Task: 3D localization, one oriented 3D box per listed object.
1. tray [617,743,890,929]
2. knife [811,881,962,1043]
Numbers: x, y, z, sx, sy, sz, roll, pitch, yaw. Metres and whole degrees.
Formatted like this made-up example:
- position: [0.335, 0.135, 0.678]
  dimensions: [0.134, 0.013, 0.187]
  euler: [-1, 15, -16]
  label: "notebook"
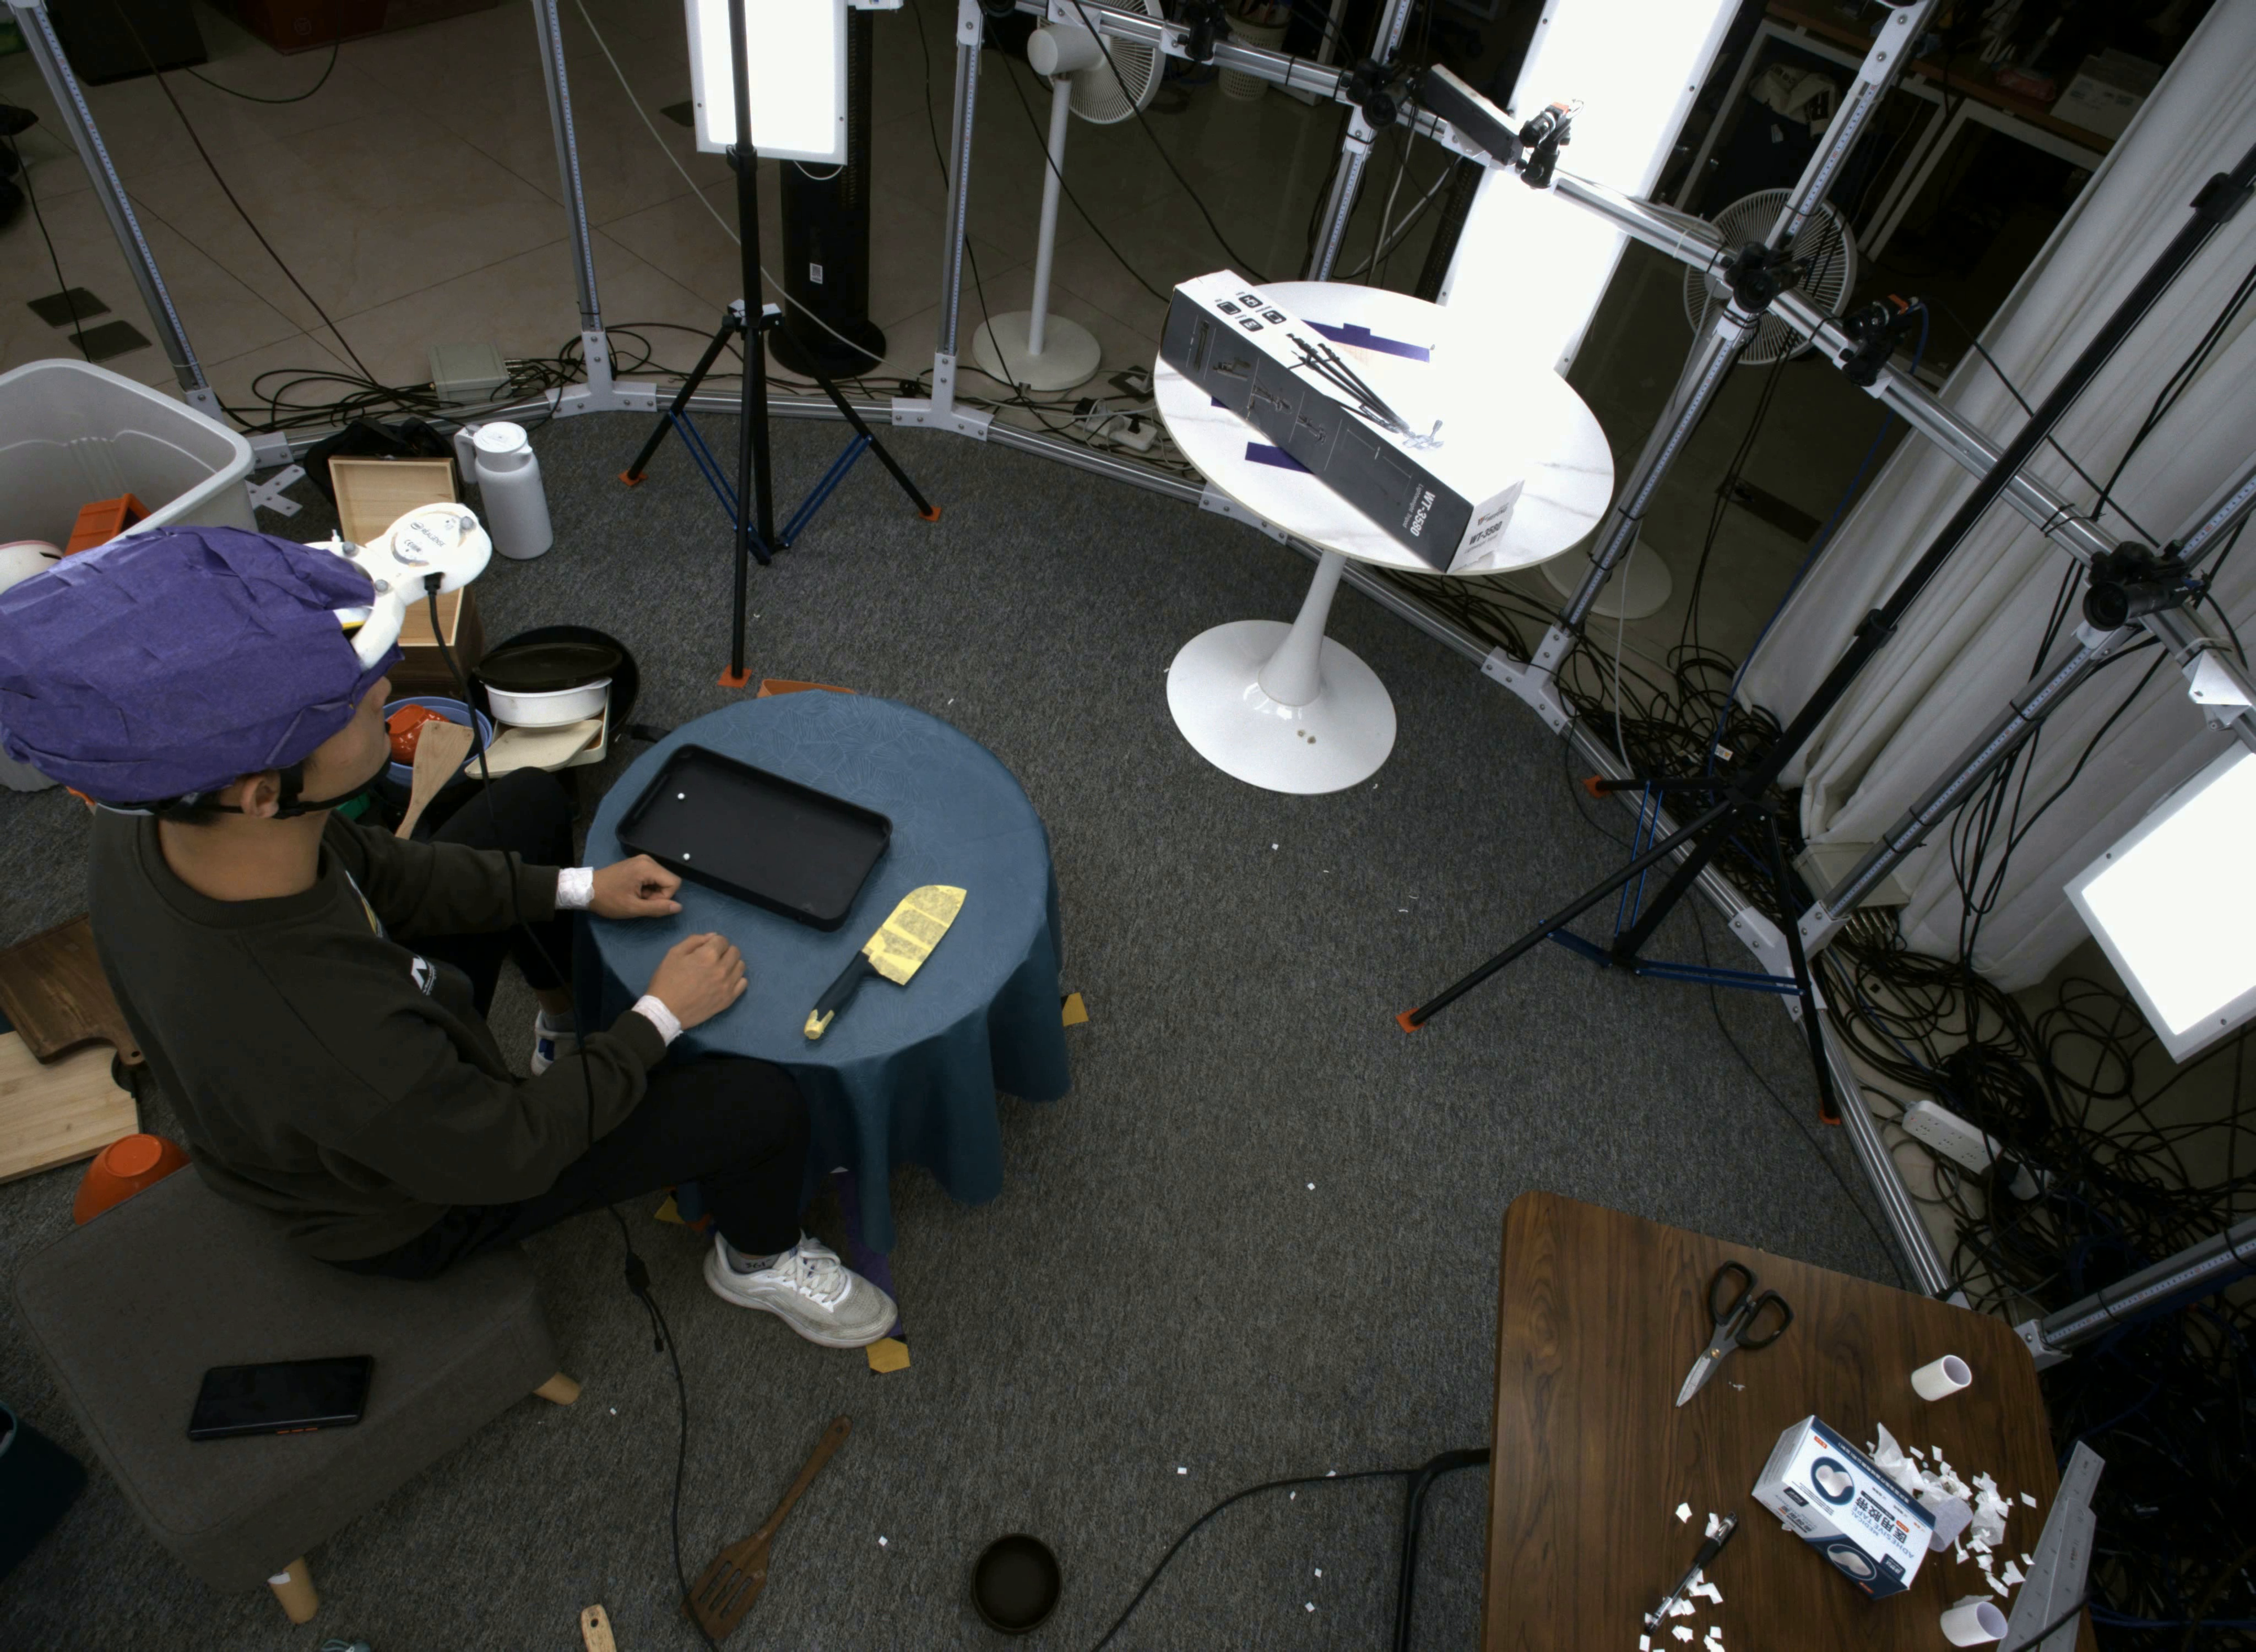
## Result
- position: [-0.487, 0.009, 1.689]
  dimensions: [0.315, 0.038, 0.182]
  euler: [19, 52, 0]
  label: "tray"
- position: [-0.299, 0.165, 1.635]
  dimensions: [0.079, 0.028, 0.288]
  euler: [29, 52, 10]
  label: "knife"
